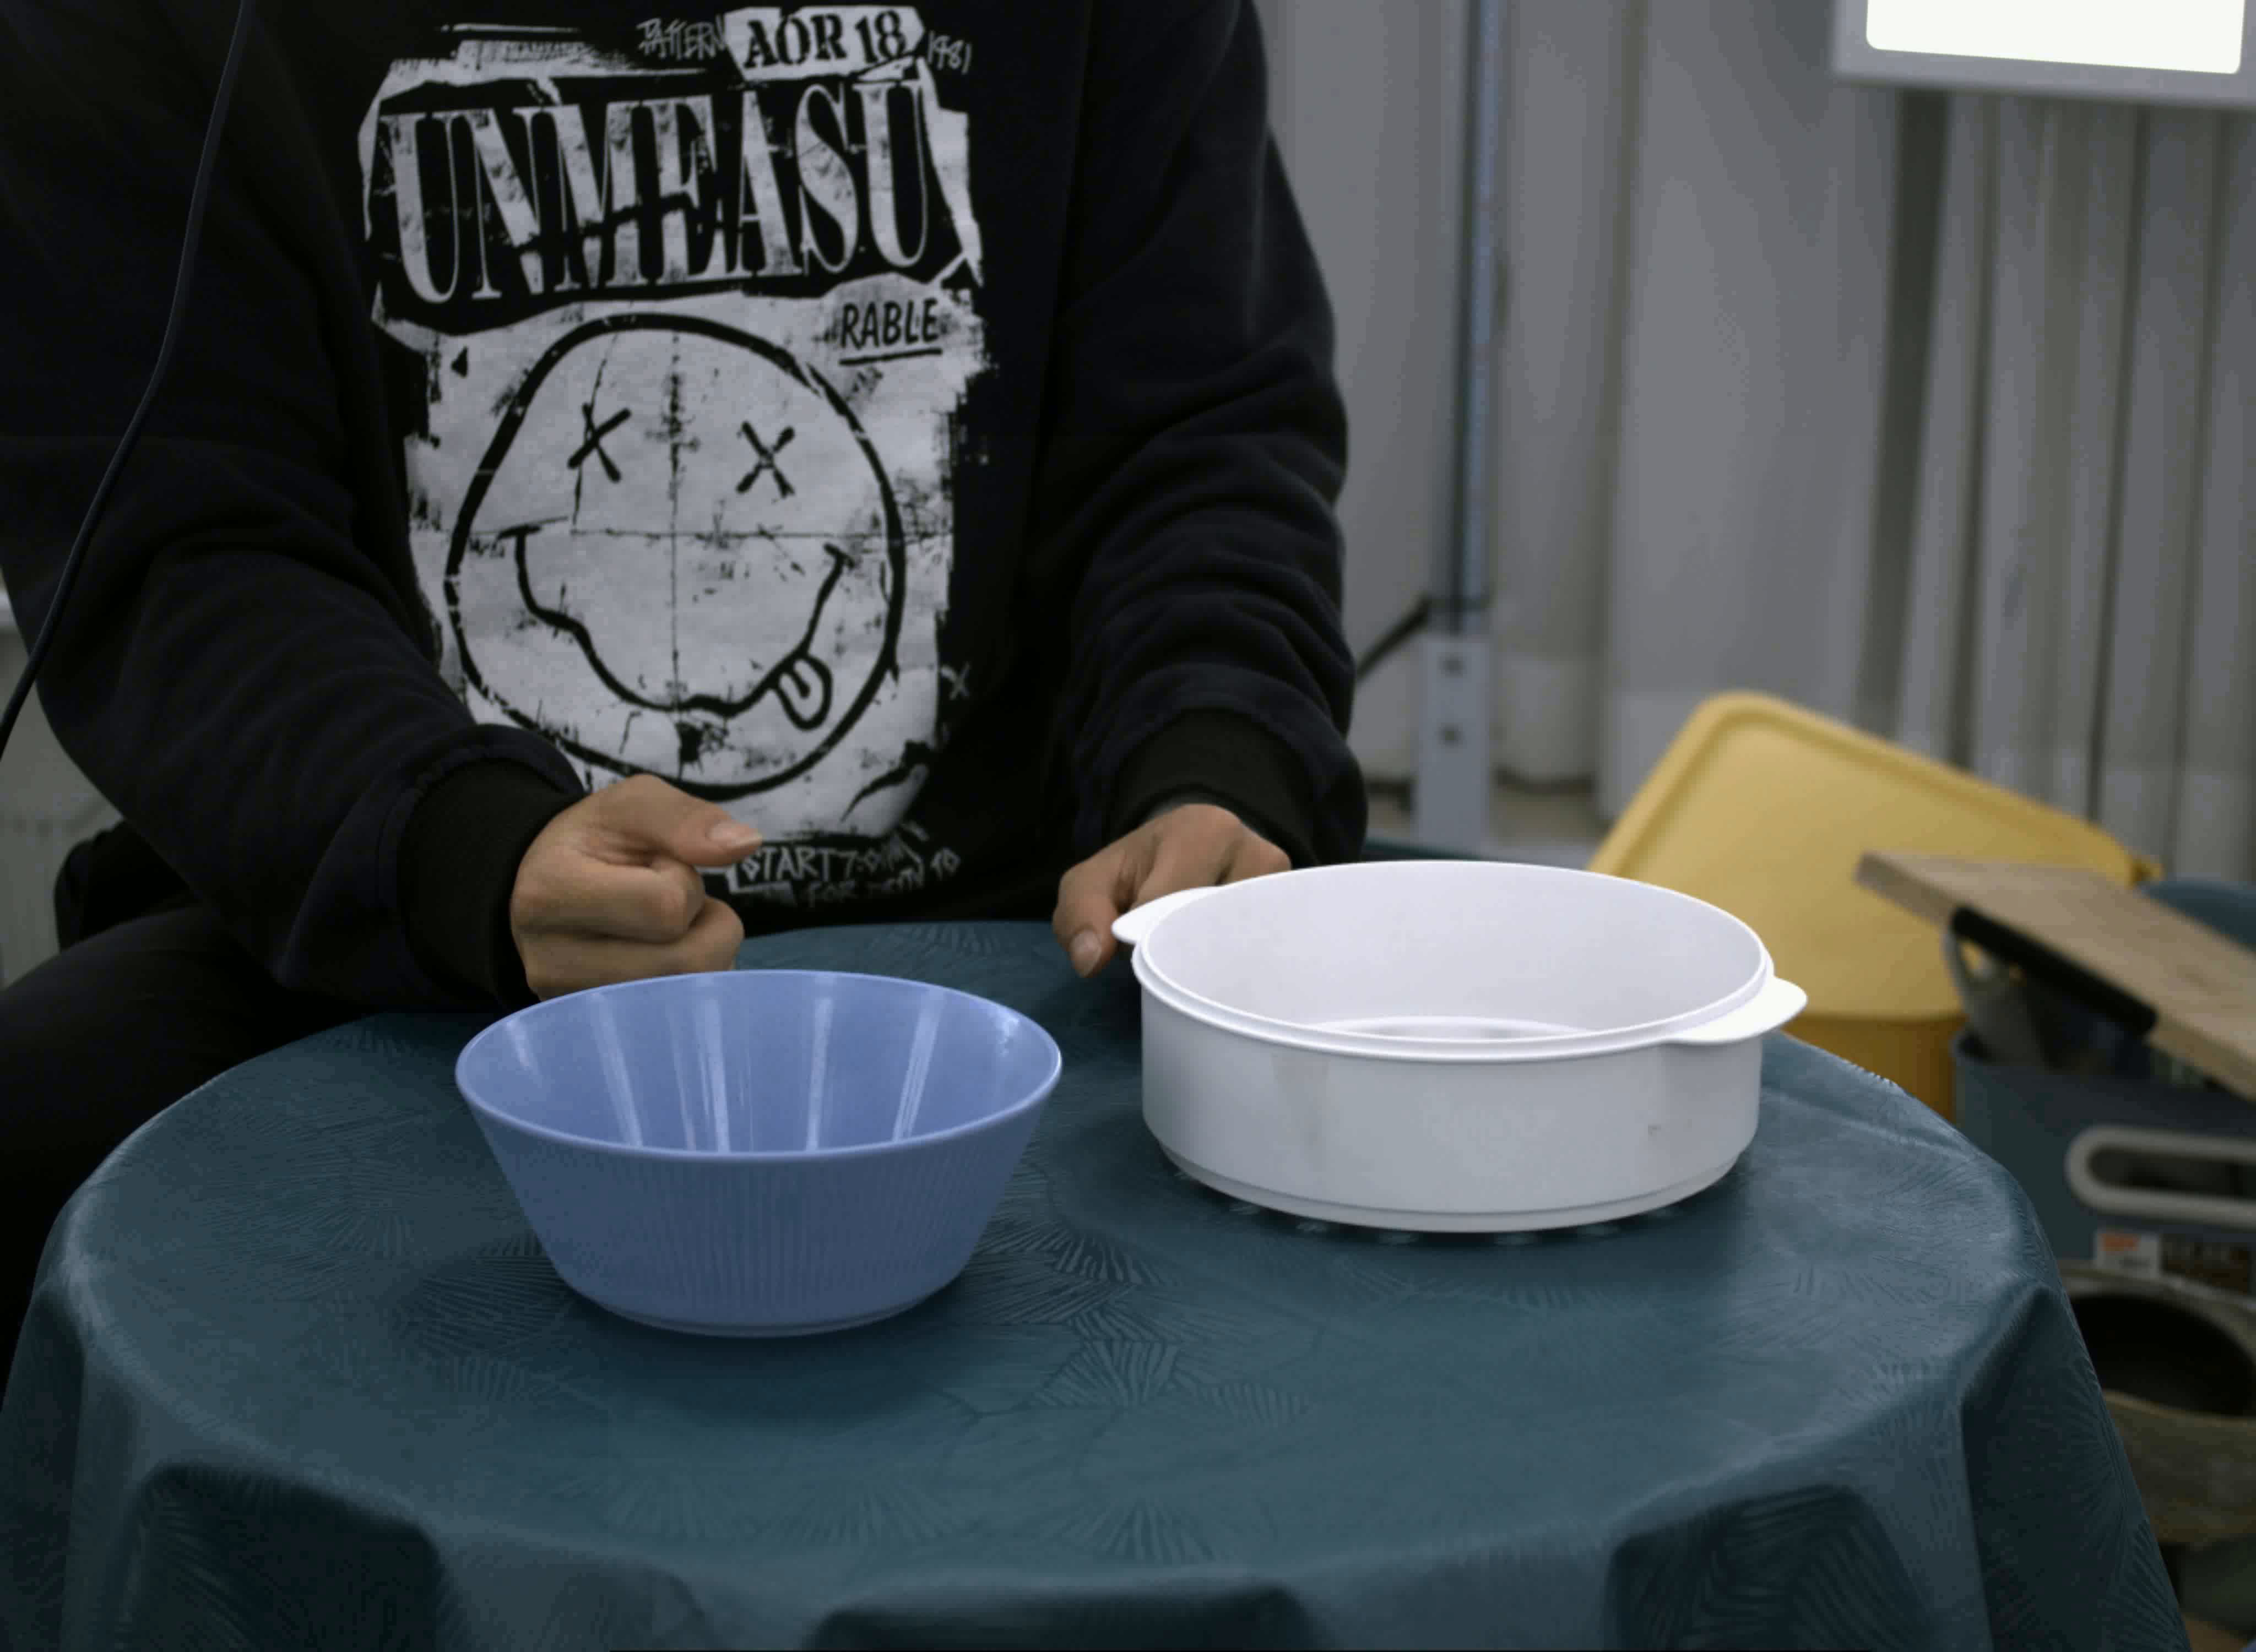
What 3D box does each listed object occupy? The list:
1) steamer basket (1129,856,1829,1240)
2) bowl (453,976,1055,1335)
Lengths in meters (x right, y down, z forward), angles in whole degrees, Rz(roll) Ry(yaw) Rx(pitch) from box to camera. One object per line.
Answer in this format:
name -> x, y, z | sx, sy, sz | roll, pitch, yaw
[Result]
steamer basket -> 0.106, 0.069, 1.656 | 0.228, 0.070, 0.202 | 12, 20, 29
bowl -> -0.109, 0.099, 1.541 | 0.175, 0.071, 0.175 | 2, 15, 0
